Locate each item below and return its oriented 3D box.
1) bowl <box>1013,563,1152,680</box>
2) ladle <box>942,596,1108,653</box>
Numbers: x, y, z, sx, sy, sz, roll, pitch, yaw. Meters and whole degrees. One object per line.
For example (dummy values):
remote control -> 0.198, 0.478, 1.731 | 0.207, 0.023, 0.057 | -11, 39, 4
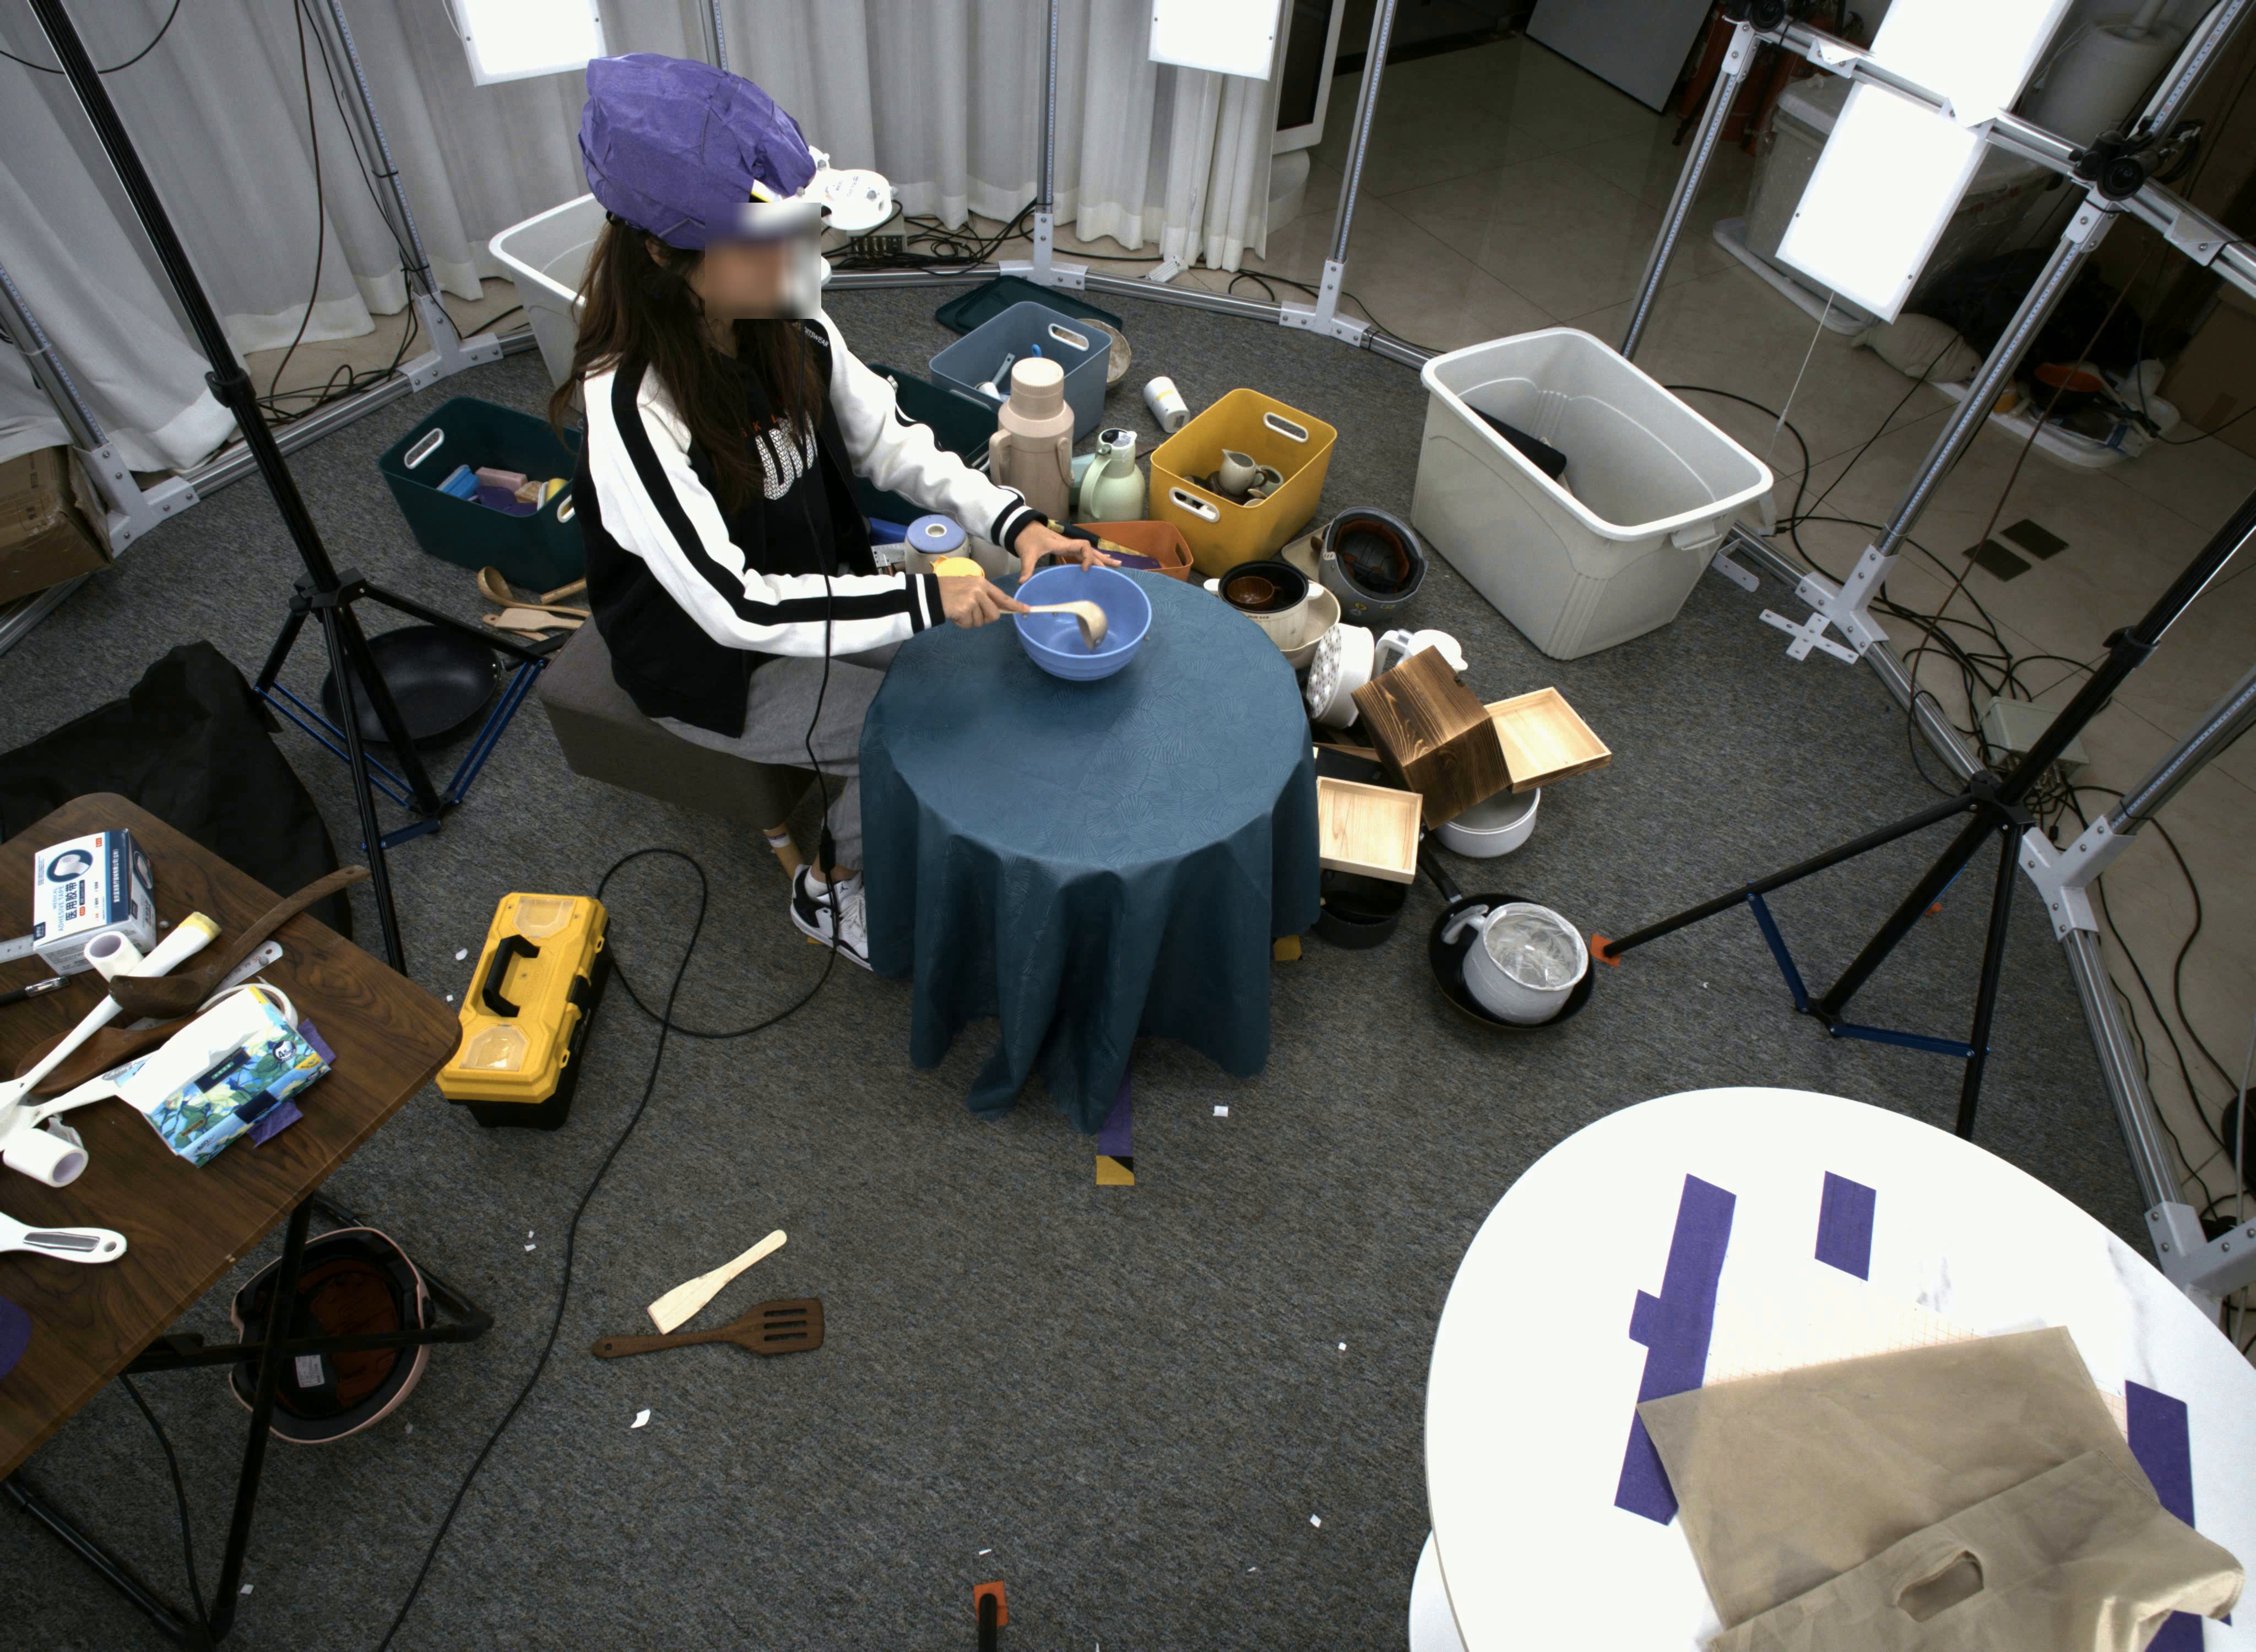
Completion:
bowl -> -0.068, -0.277, 1.843 | 0.196, 0.093, 0.201 | 4, 49, -4
ladle -> -0.148, -0.281, 1.799 | 0.253, 0.071, 0.074 | -1, 49, -28
